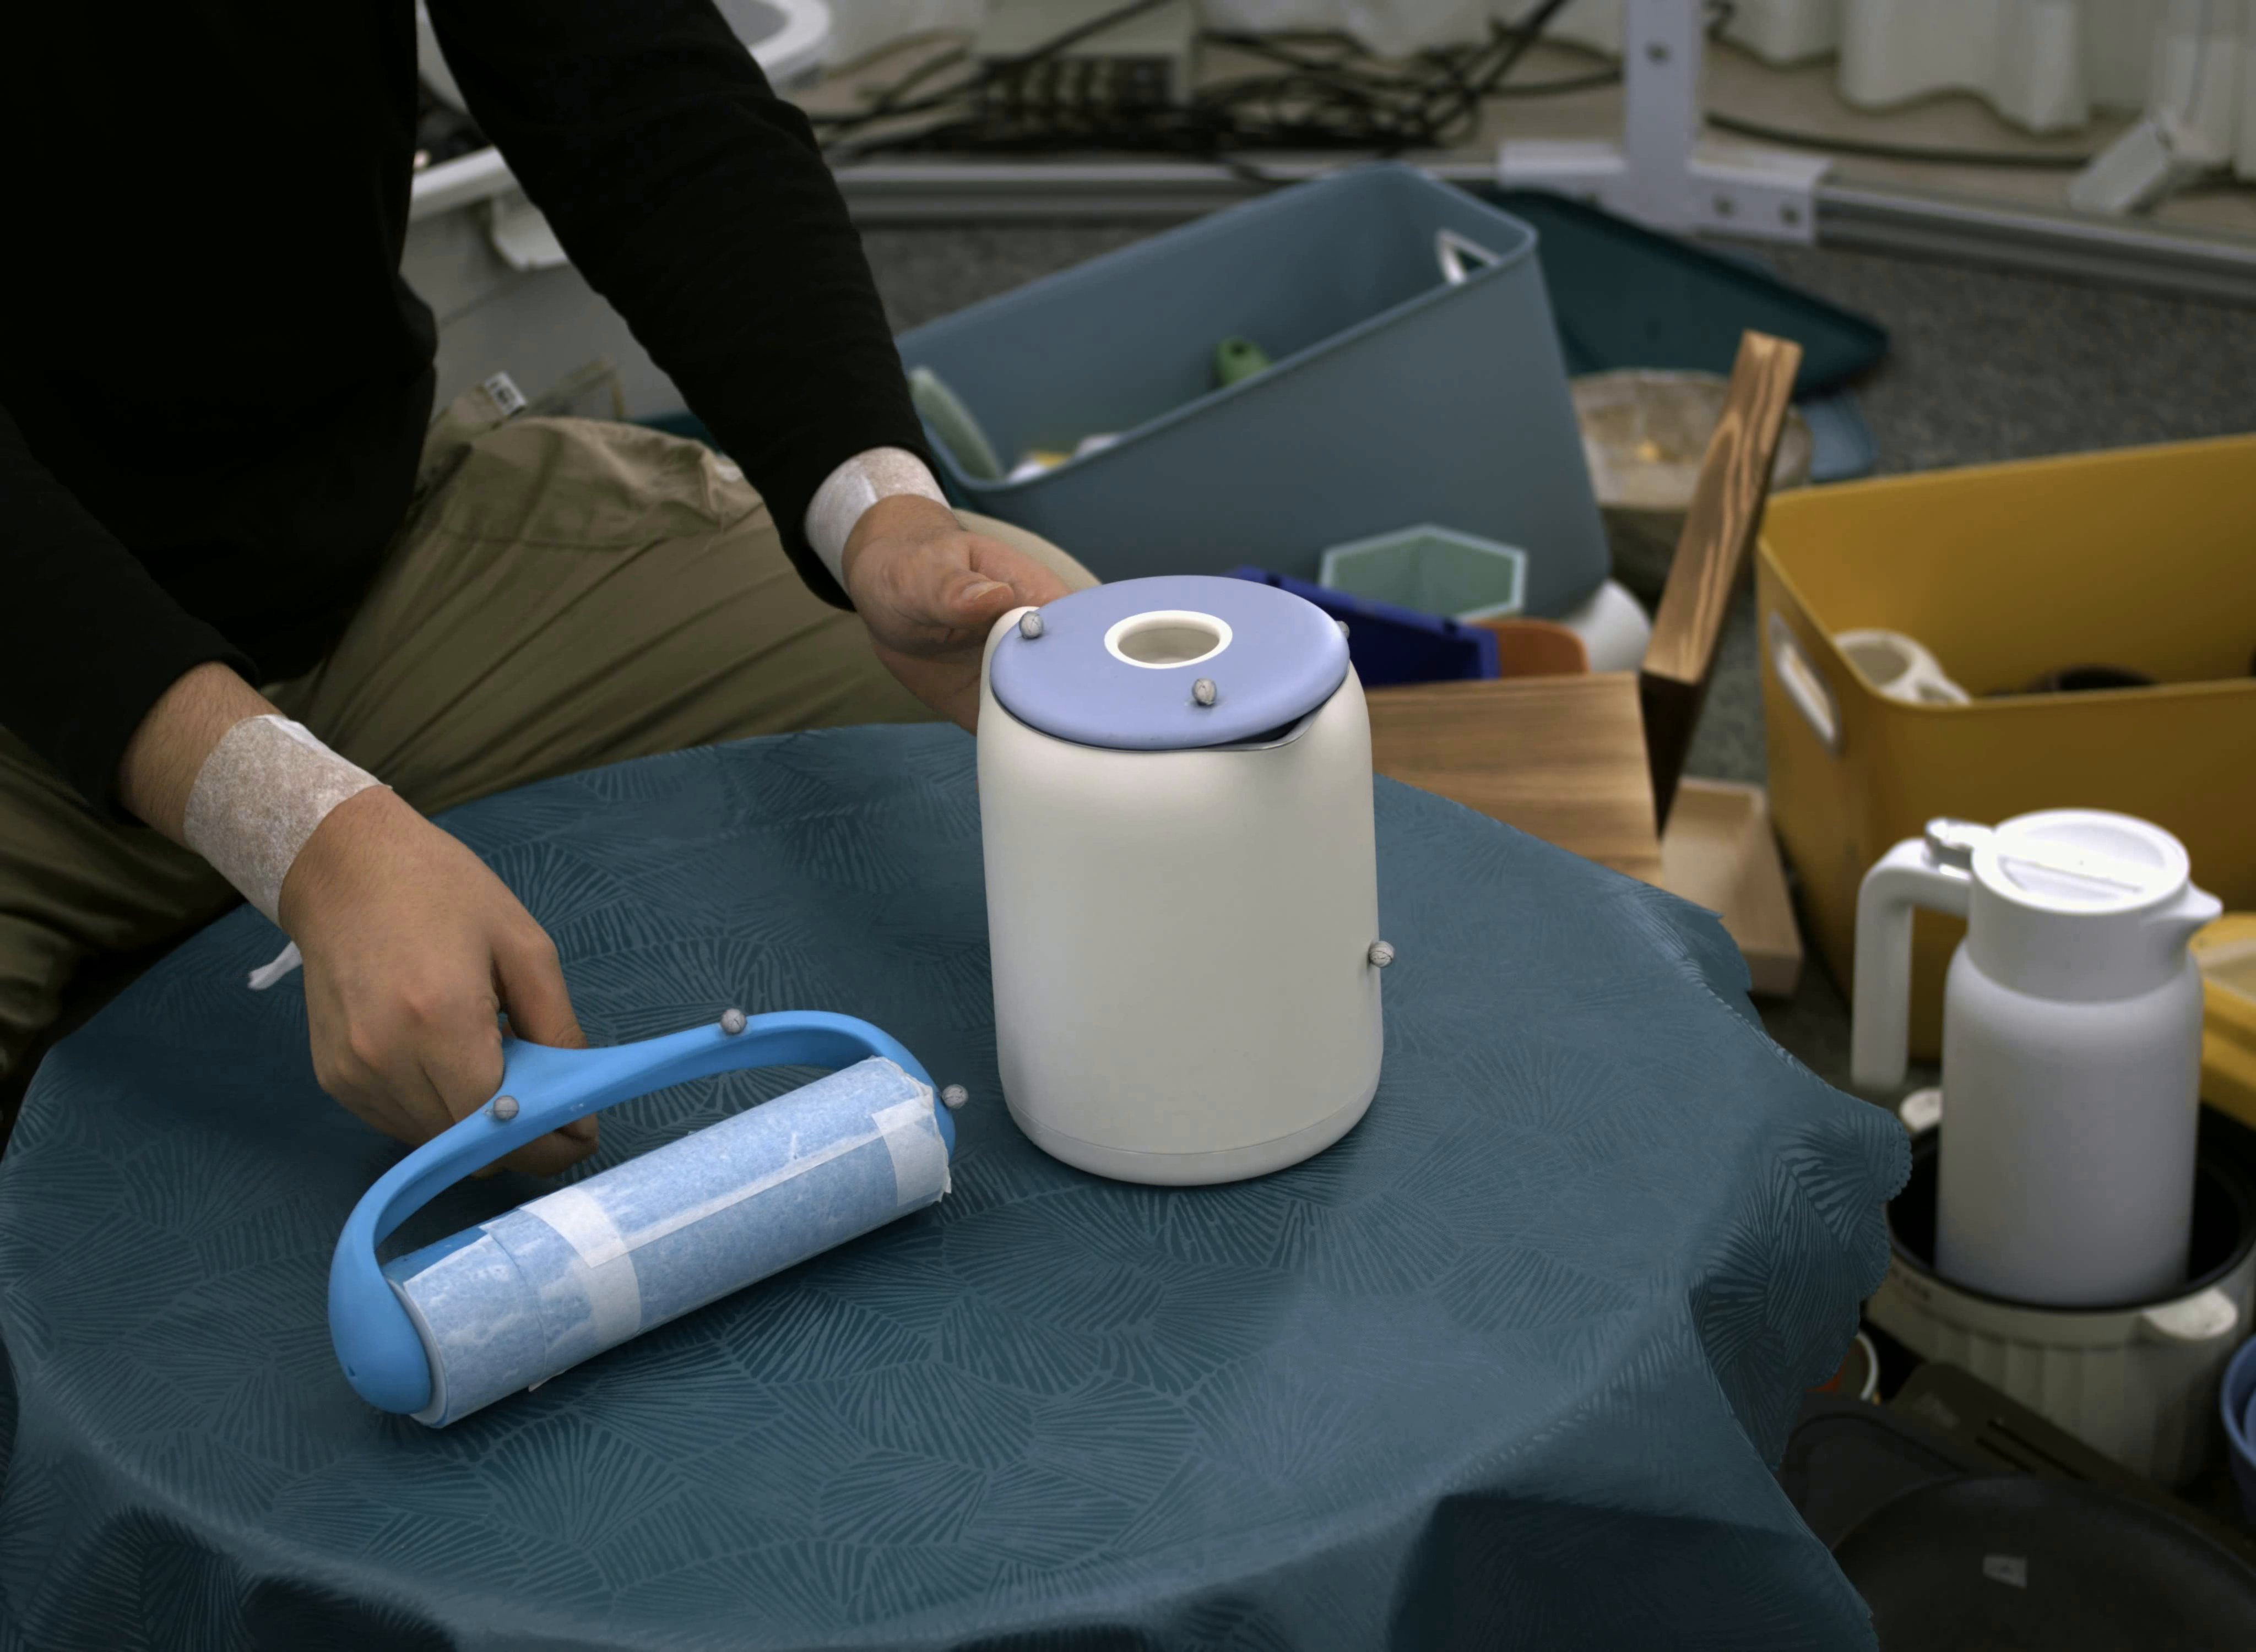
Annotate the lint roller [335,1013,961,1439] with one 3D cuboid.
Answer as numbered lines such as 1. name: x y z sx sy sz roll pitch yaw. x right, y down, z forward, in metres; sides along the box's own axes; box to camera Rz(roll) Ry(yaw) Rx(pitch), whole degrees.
1. lint roller: -0.188 0.106 1.838 0.231 0.067 0.181 -26 44 -32

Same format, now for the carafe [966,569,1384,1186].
1. carafe: 0.004 0.008 1.895 0.133 0.181 0.191 -19 28 -30
